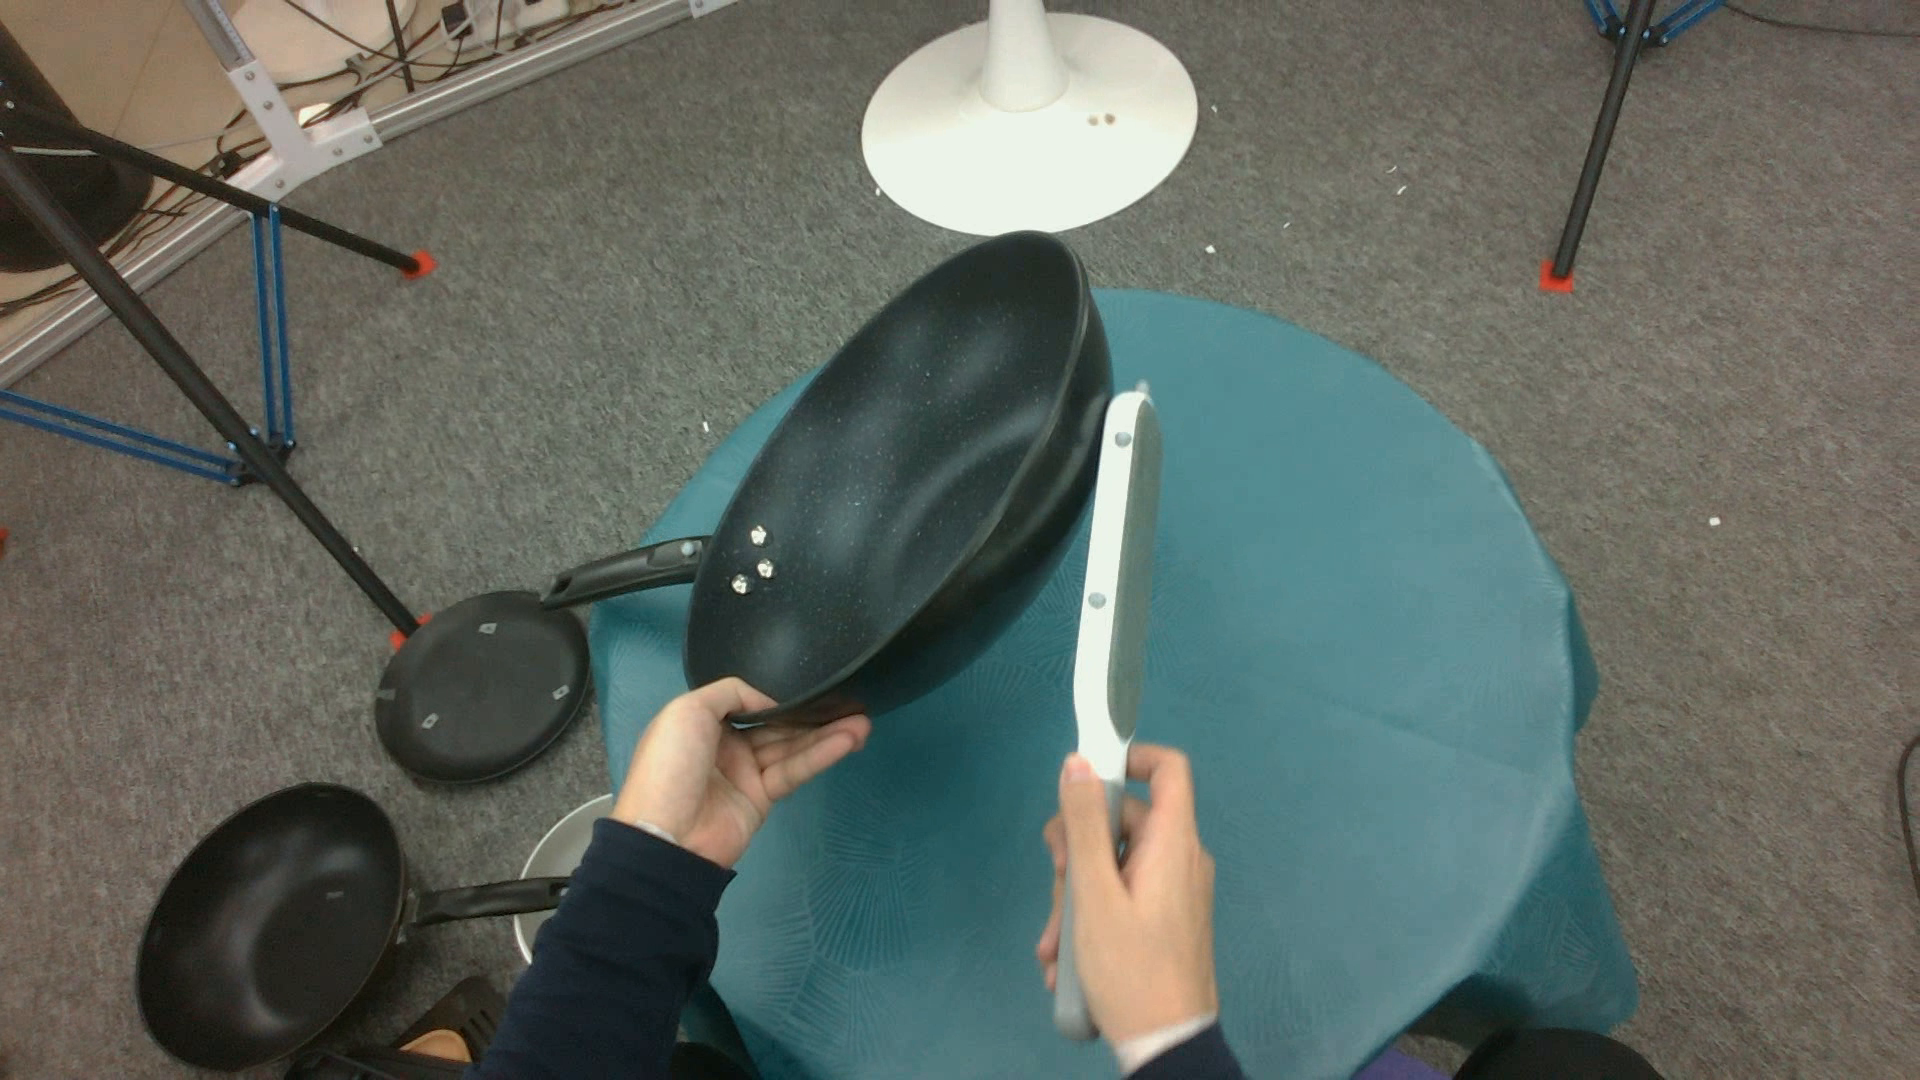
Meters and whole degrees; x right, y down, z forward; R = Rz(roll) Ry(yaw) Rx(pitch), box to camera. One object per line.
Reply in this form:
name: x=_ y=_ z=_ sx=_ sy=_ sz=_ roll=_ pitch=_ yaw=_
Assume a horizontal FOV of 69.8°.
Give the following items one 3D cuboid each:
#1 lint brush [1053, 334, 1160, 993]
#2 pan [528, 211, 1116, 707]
lint brush: x=0.067 y=0.044 z=0.624 sx=0.021 sy=0.060 sz=0.310 roll=-1 pitch=66 yaw=20
pan: x=-0.089 y=-0.012 z=0.793 sx=0.475 sy=0.111 sz=0.312 roll=-23 pitch=38 yaw=42
